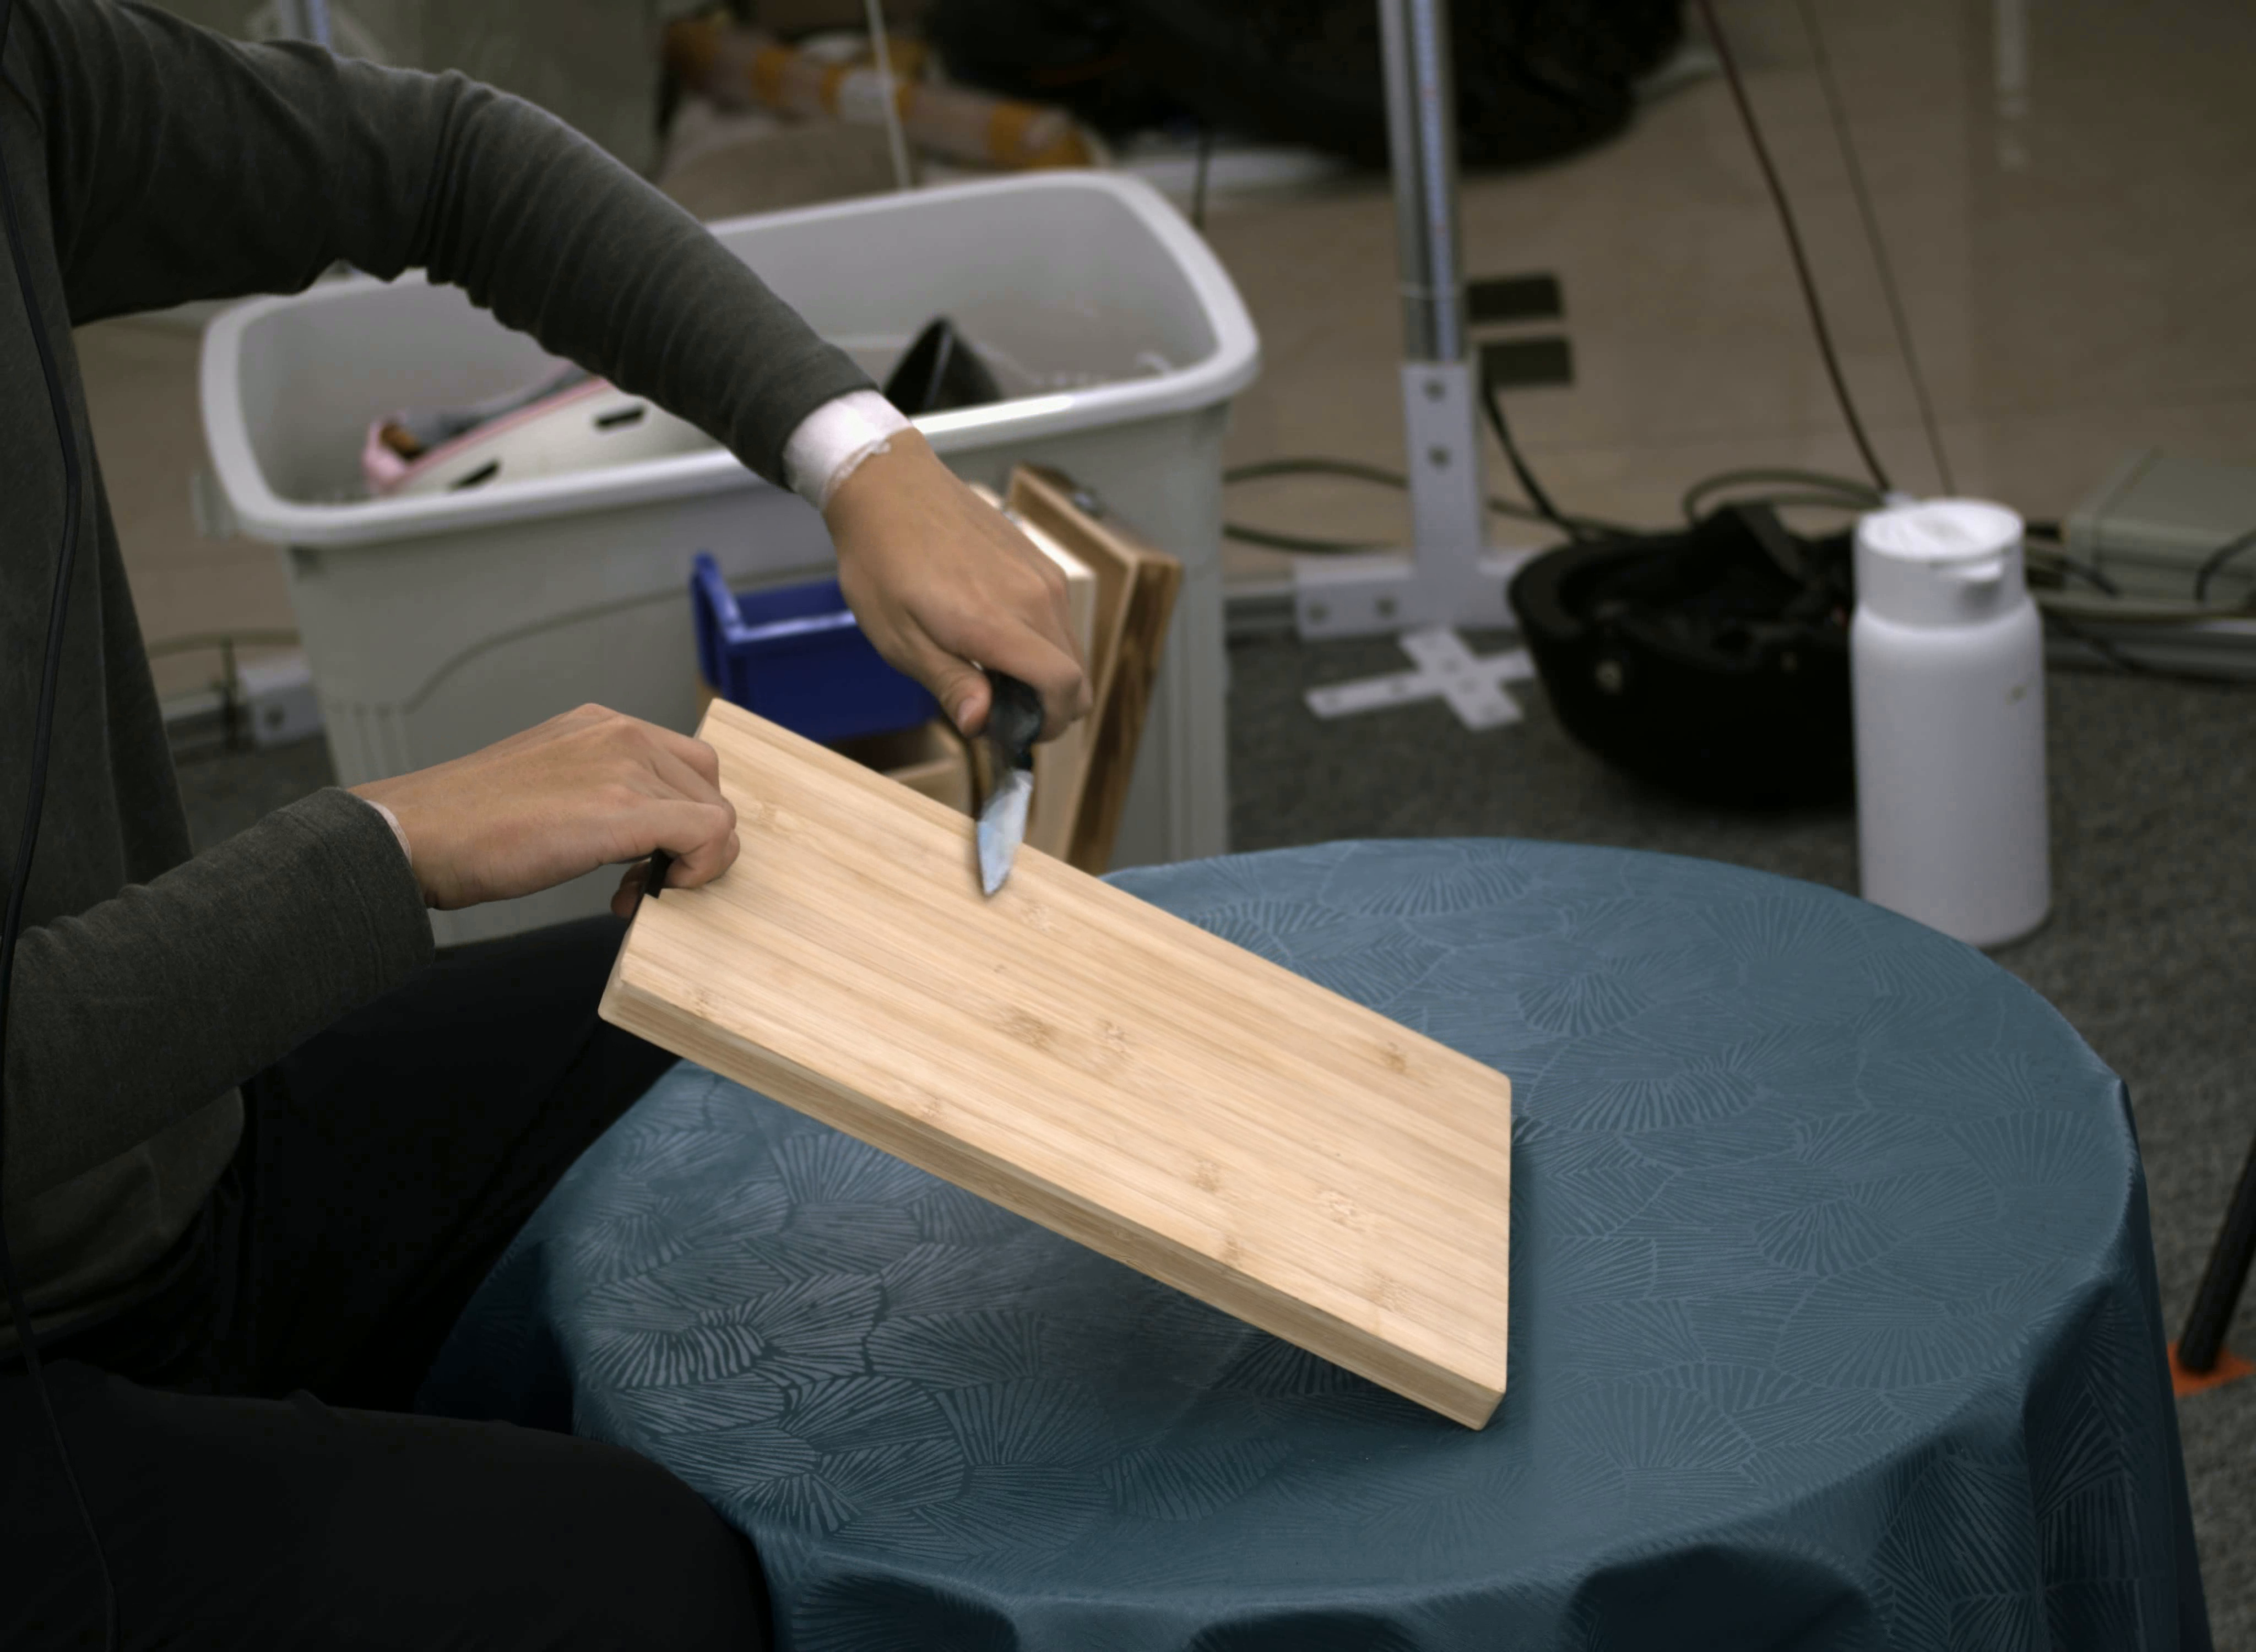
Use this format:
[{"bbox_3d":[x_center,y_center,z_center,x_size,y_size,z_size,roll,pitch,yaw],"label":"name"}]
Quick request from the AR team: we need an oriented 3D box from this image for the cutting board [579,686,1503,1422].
[{"bbox_3d":[-0.022,0.079,2.046,0.349,0.024,0.247,26,24,-9],"label":"cutting board"}]

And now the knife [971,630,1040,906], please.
[{"bbox_3d":[-0.049,-0.024,2.187,0.024,0.016,0.234,31,23,-13],"label":"knife"}]
